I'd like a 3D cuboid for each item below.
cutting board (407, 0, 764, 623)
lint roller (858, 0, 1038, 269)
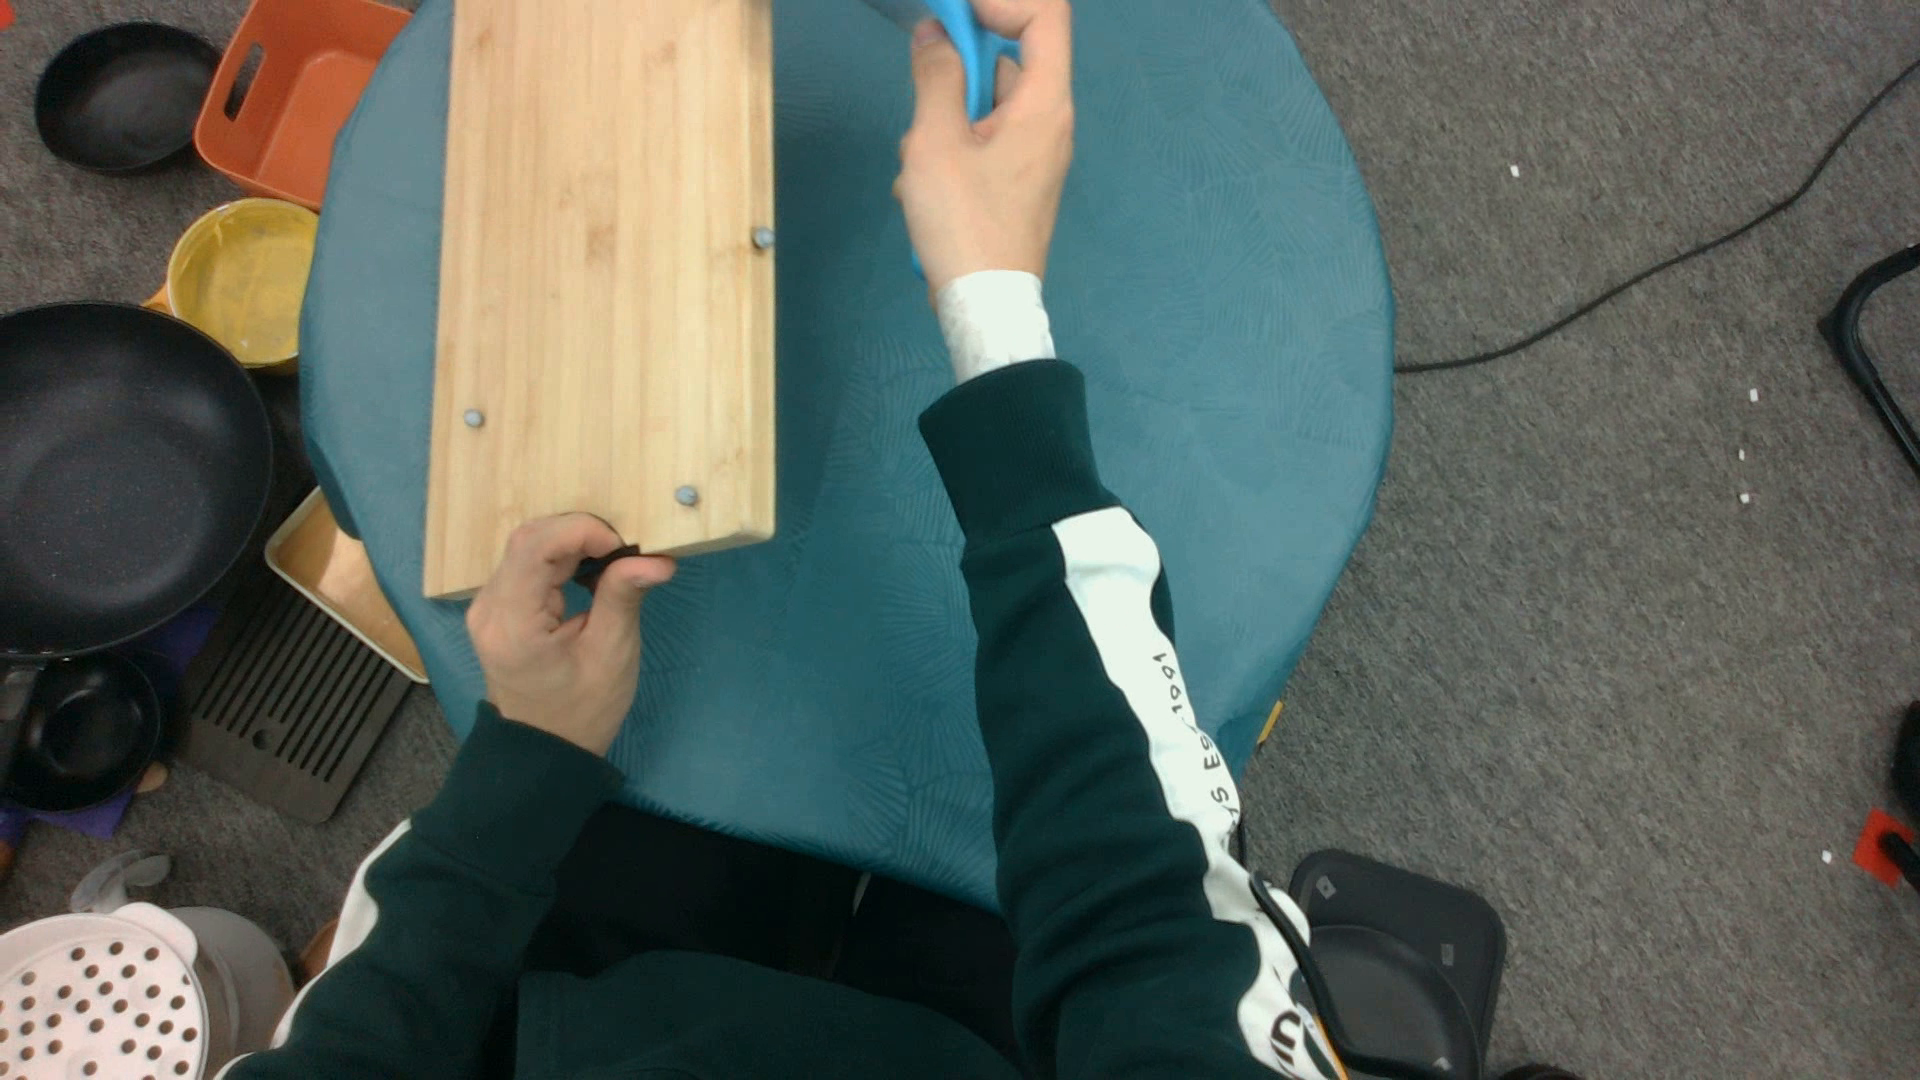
[{"bbox_3d":[-0.184,-0.146,0.651,0.023,0.250,0.349,11,72,-50],"label":"cutting board"},{"bbox_3d":[-0.024,-0.214,0.606,0.067,0.229,0.180,-20,82,27],"label":"lint roller"}]
